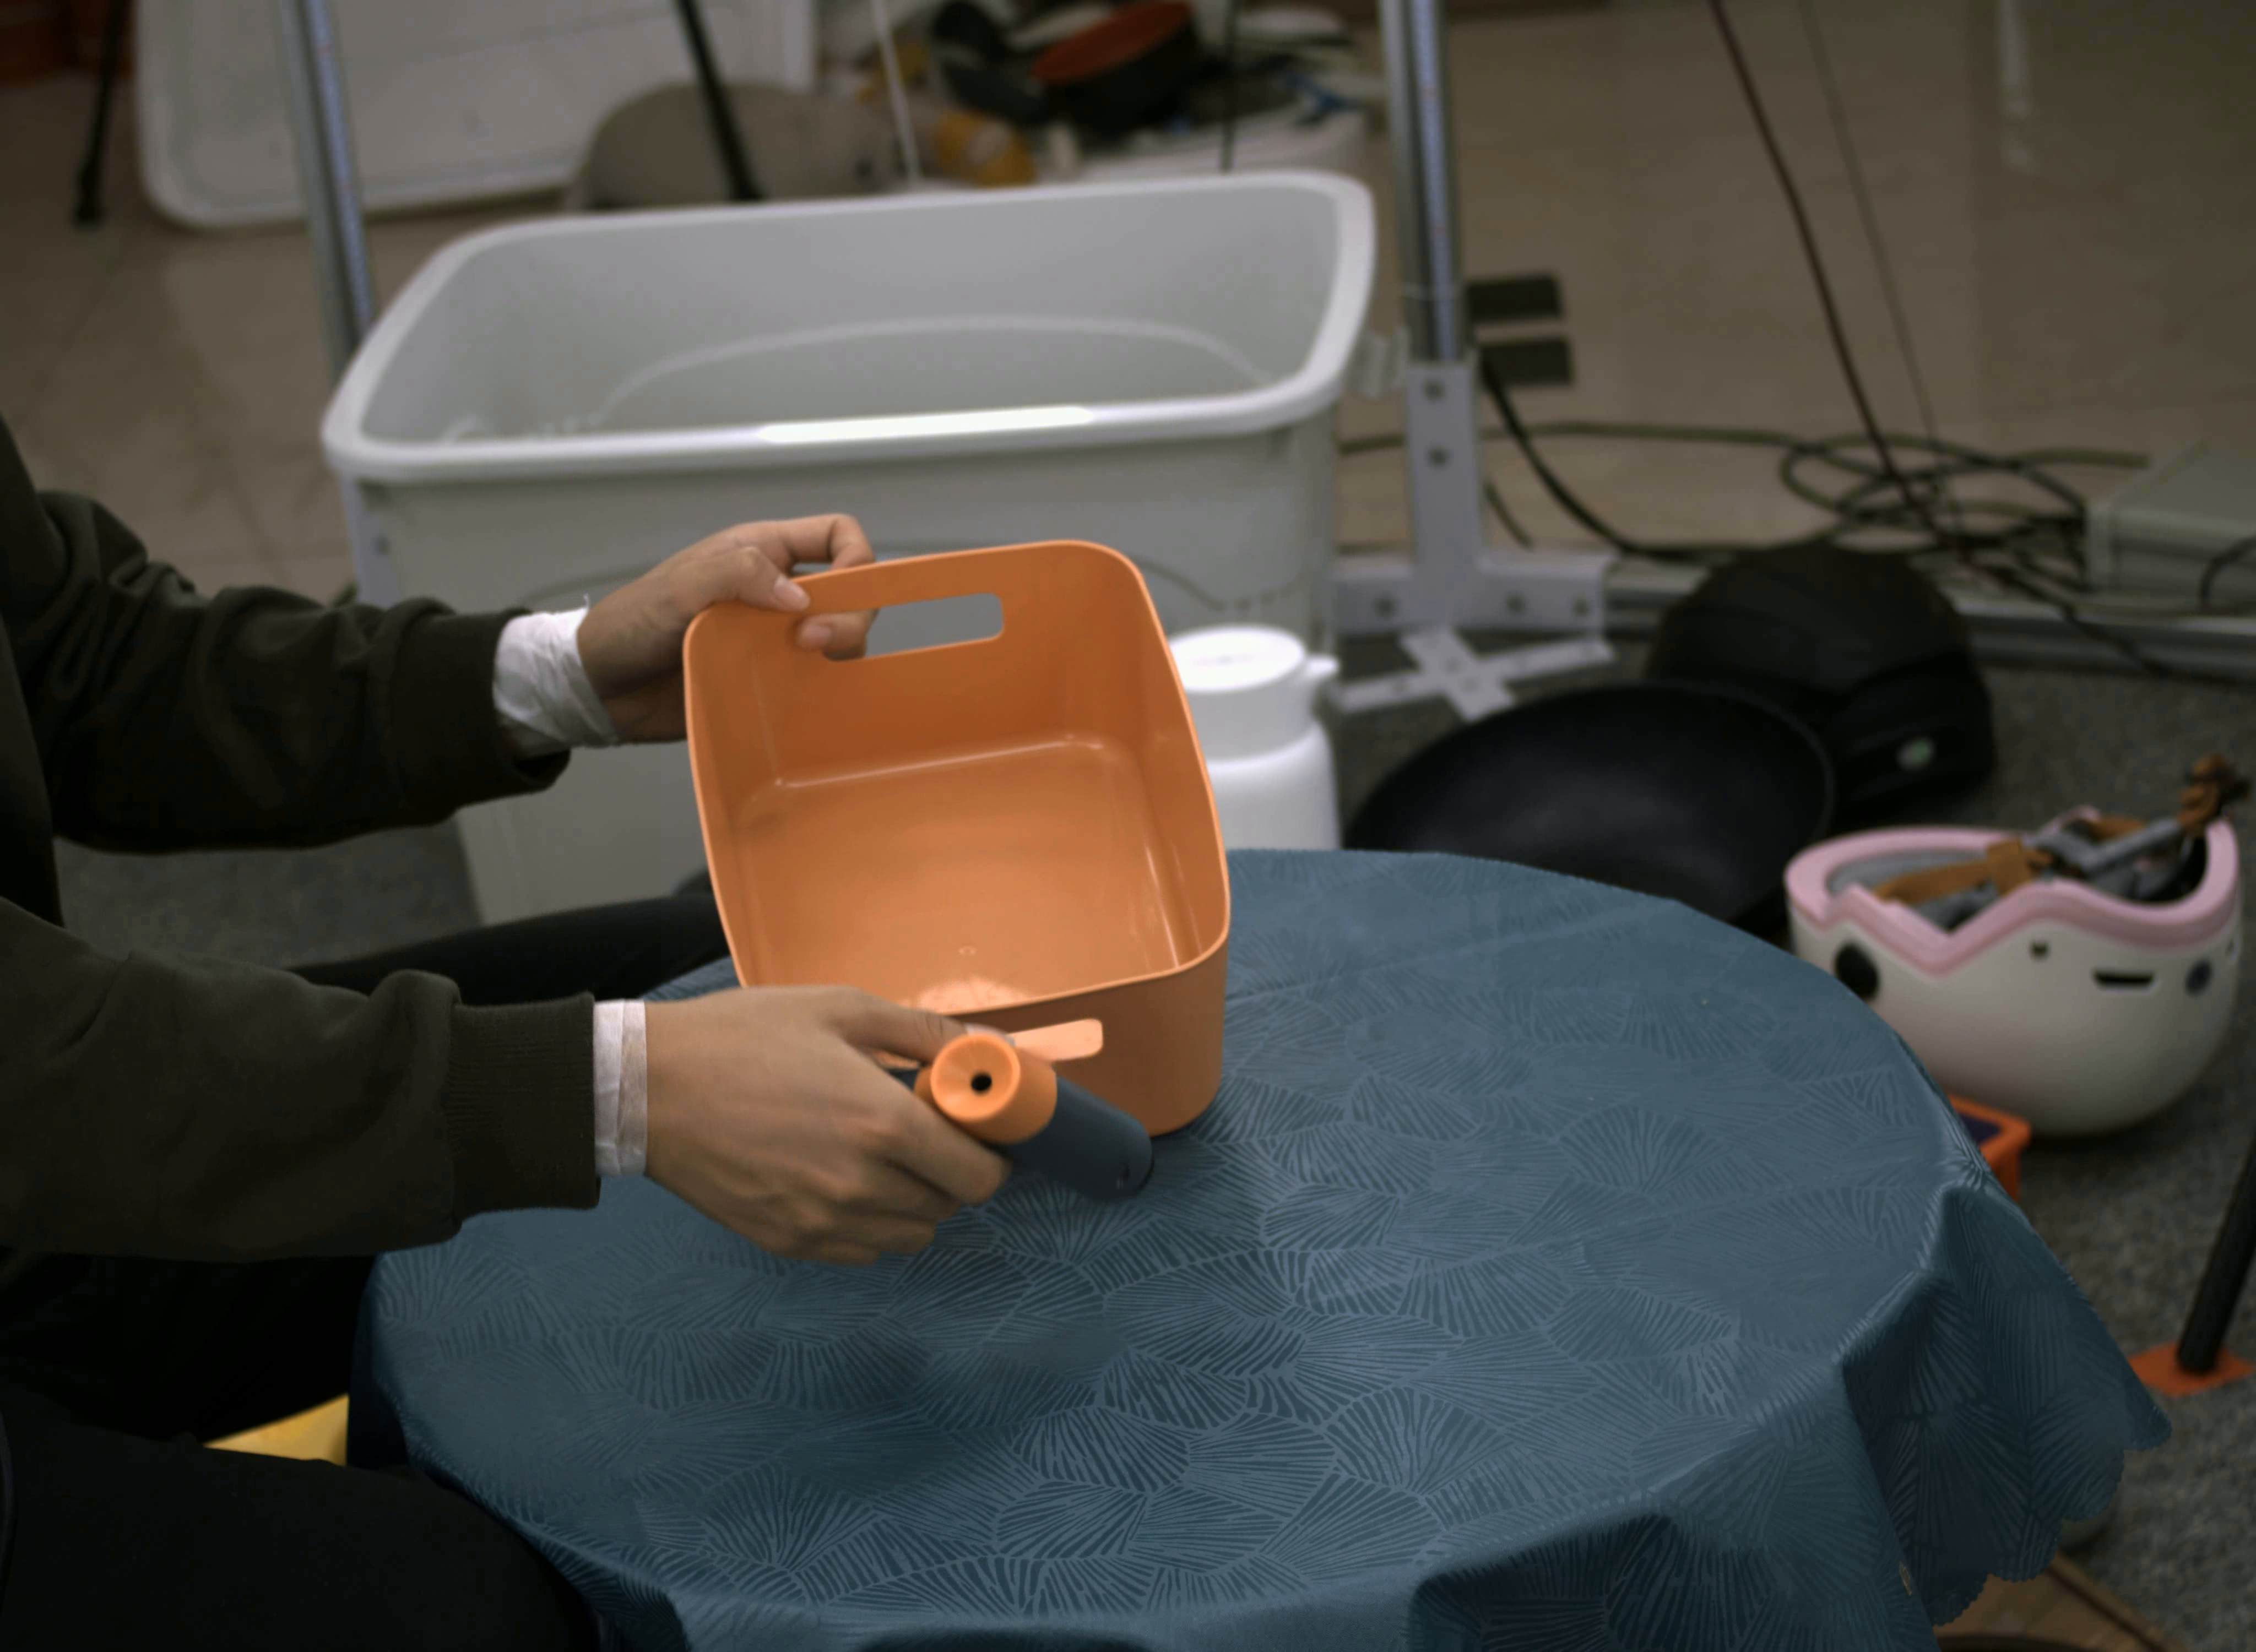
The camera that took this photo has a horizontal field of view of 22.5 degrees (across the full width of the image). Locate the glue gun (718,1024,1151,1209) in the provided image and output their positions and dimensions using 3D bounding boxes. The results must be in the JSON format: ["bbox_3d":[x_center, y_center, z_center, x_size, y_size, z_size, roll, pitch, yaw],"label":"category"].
[{"bbox_3d":[-0.067,0.108,2.020,0.139,0.119,0.040,-1,65,13],"label":"glue gun"}]

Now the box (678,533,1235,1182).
[{"bbox_3d":[-0.068,0.015,2.236,0.199,0.104,0.268,-10,43,-5],"label":"box"}]
